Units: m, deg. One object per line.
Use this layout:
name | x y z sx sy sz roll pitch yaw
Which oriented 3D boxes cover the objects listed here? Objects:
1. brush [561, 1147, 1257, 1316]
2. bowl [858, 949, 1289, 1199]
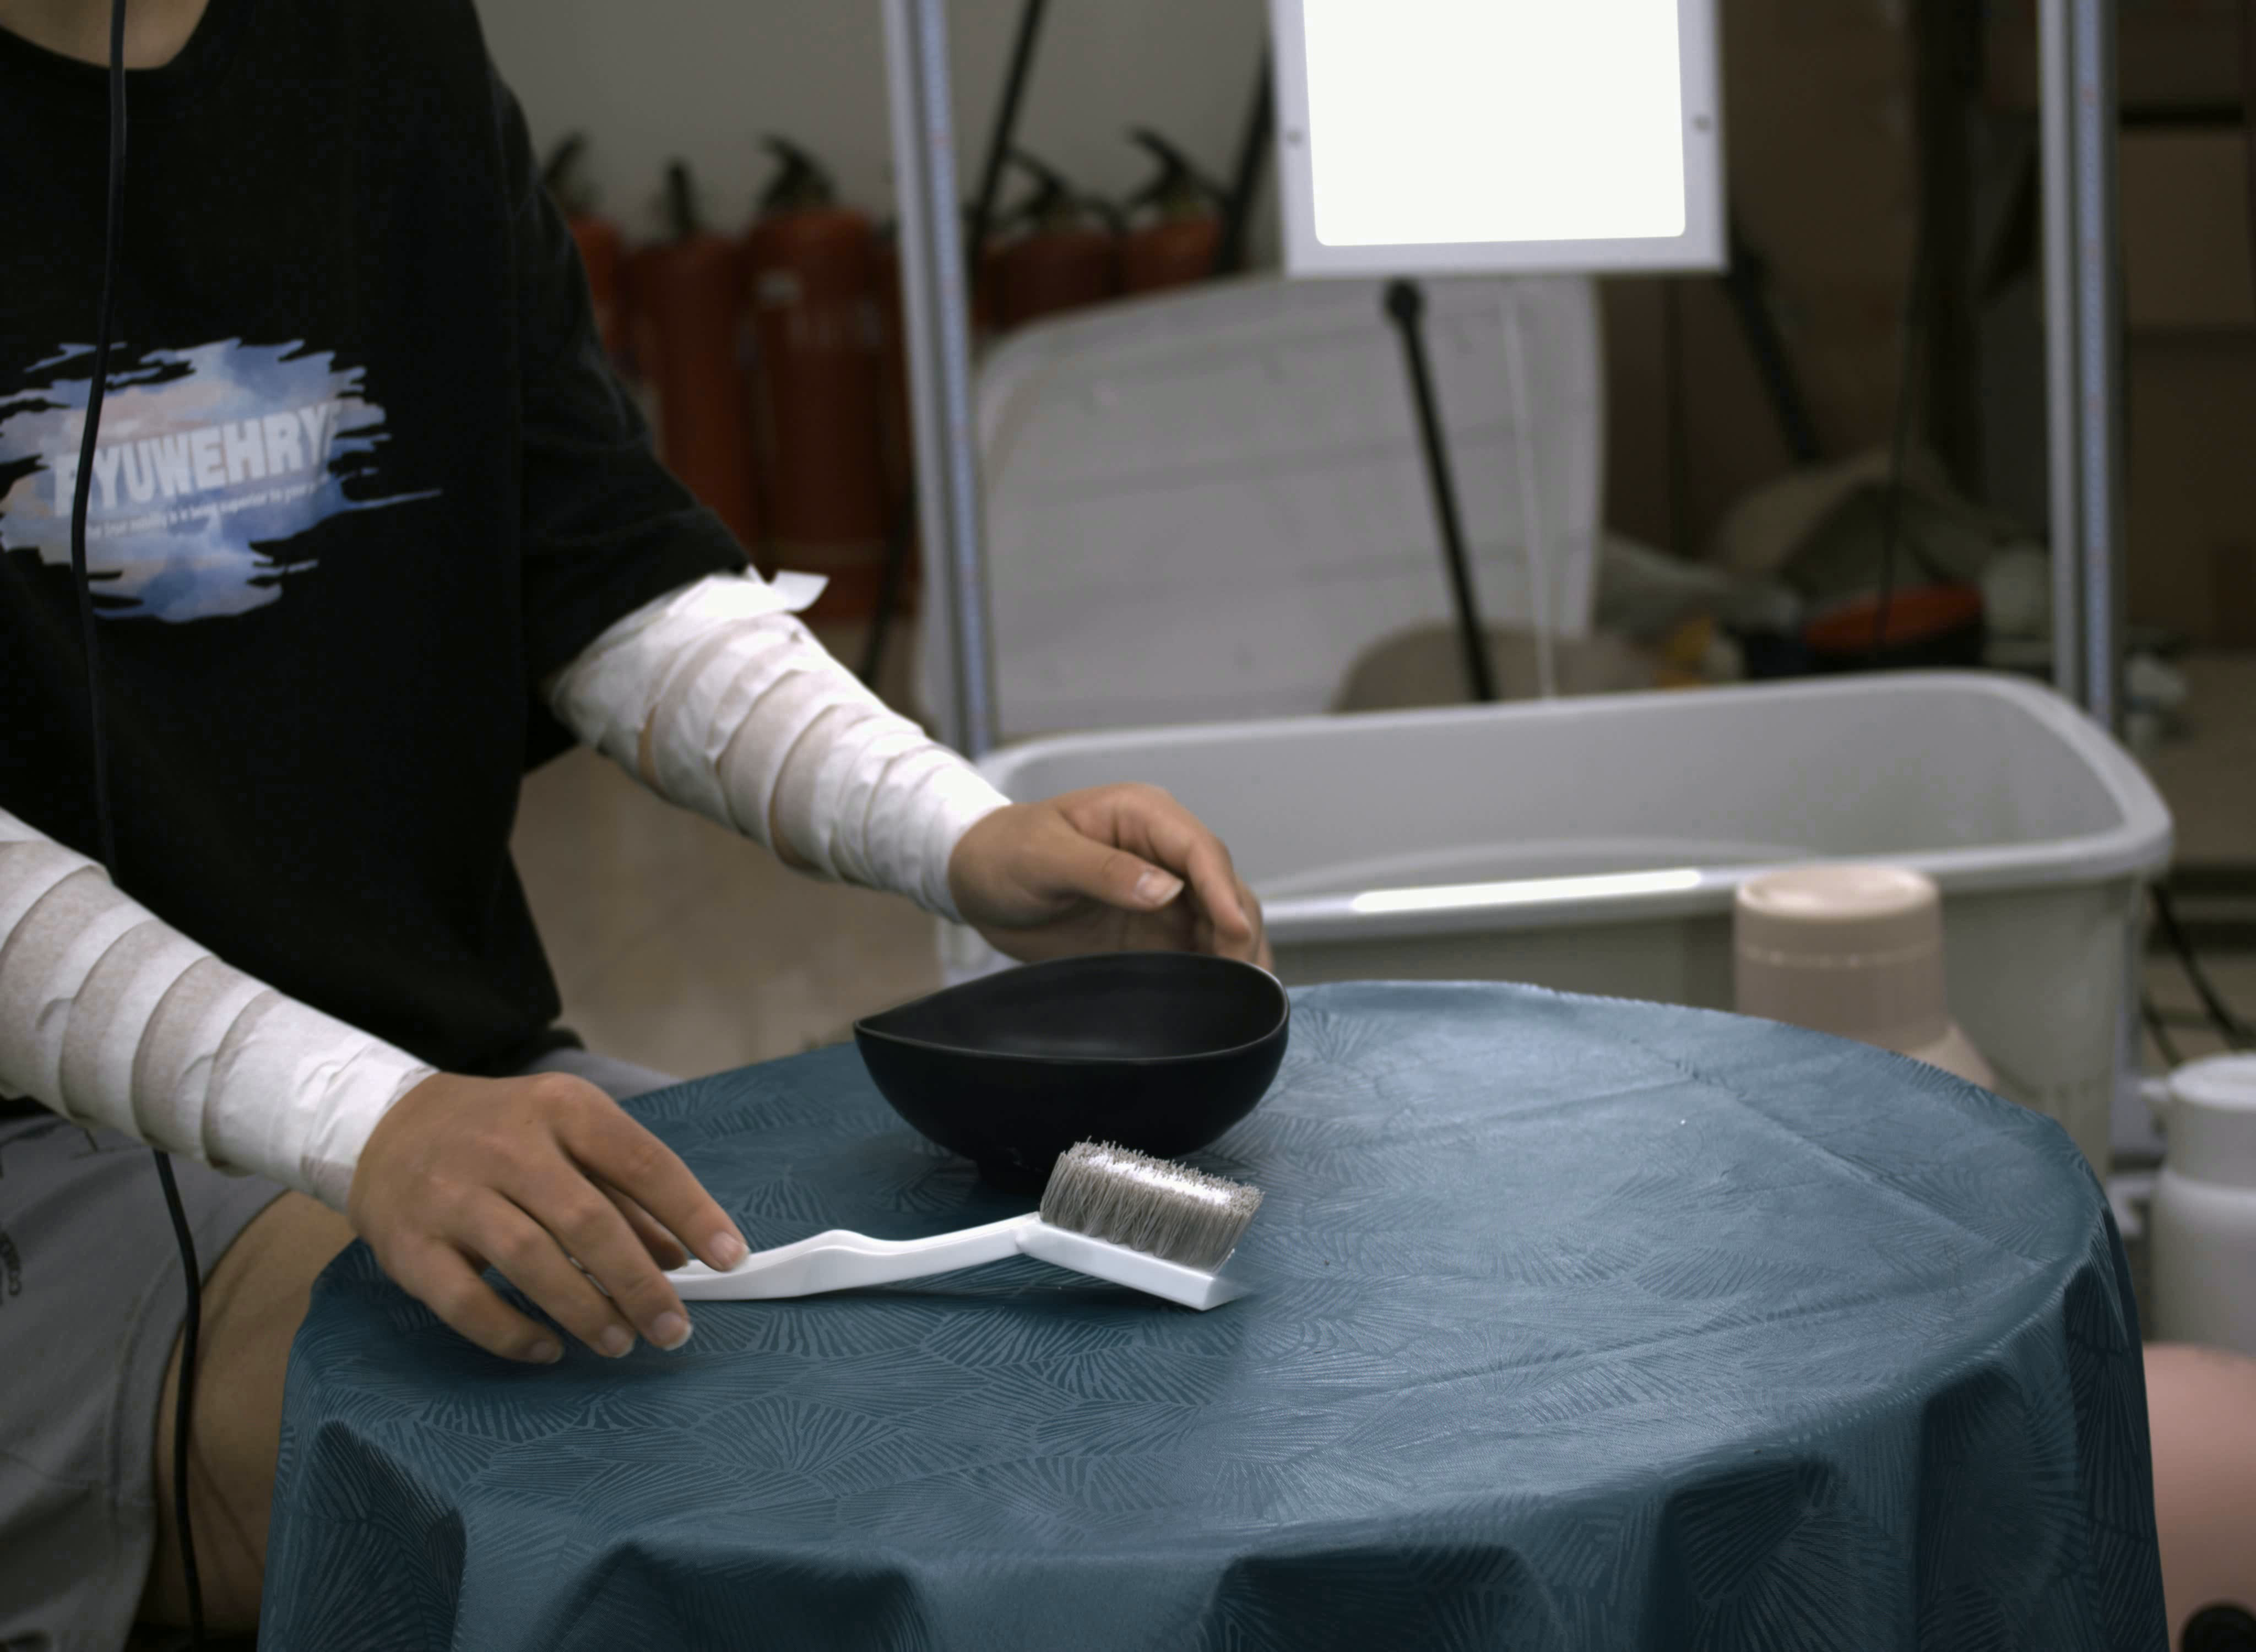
brush | -0.075 0.130 1.810 0.247 0.050 0.034 1 16 21
bowl | -0.019 0.090 1.922 0.174 0.067 0.134 5 16 43
